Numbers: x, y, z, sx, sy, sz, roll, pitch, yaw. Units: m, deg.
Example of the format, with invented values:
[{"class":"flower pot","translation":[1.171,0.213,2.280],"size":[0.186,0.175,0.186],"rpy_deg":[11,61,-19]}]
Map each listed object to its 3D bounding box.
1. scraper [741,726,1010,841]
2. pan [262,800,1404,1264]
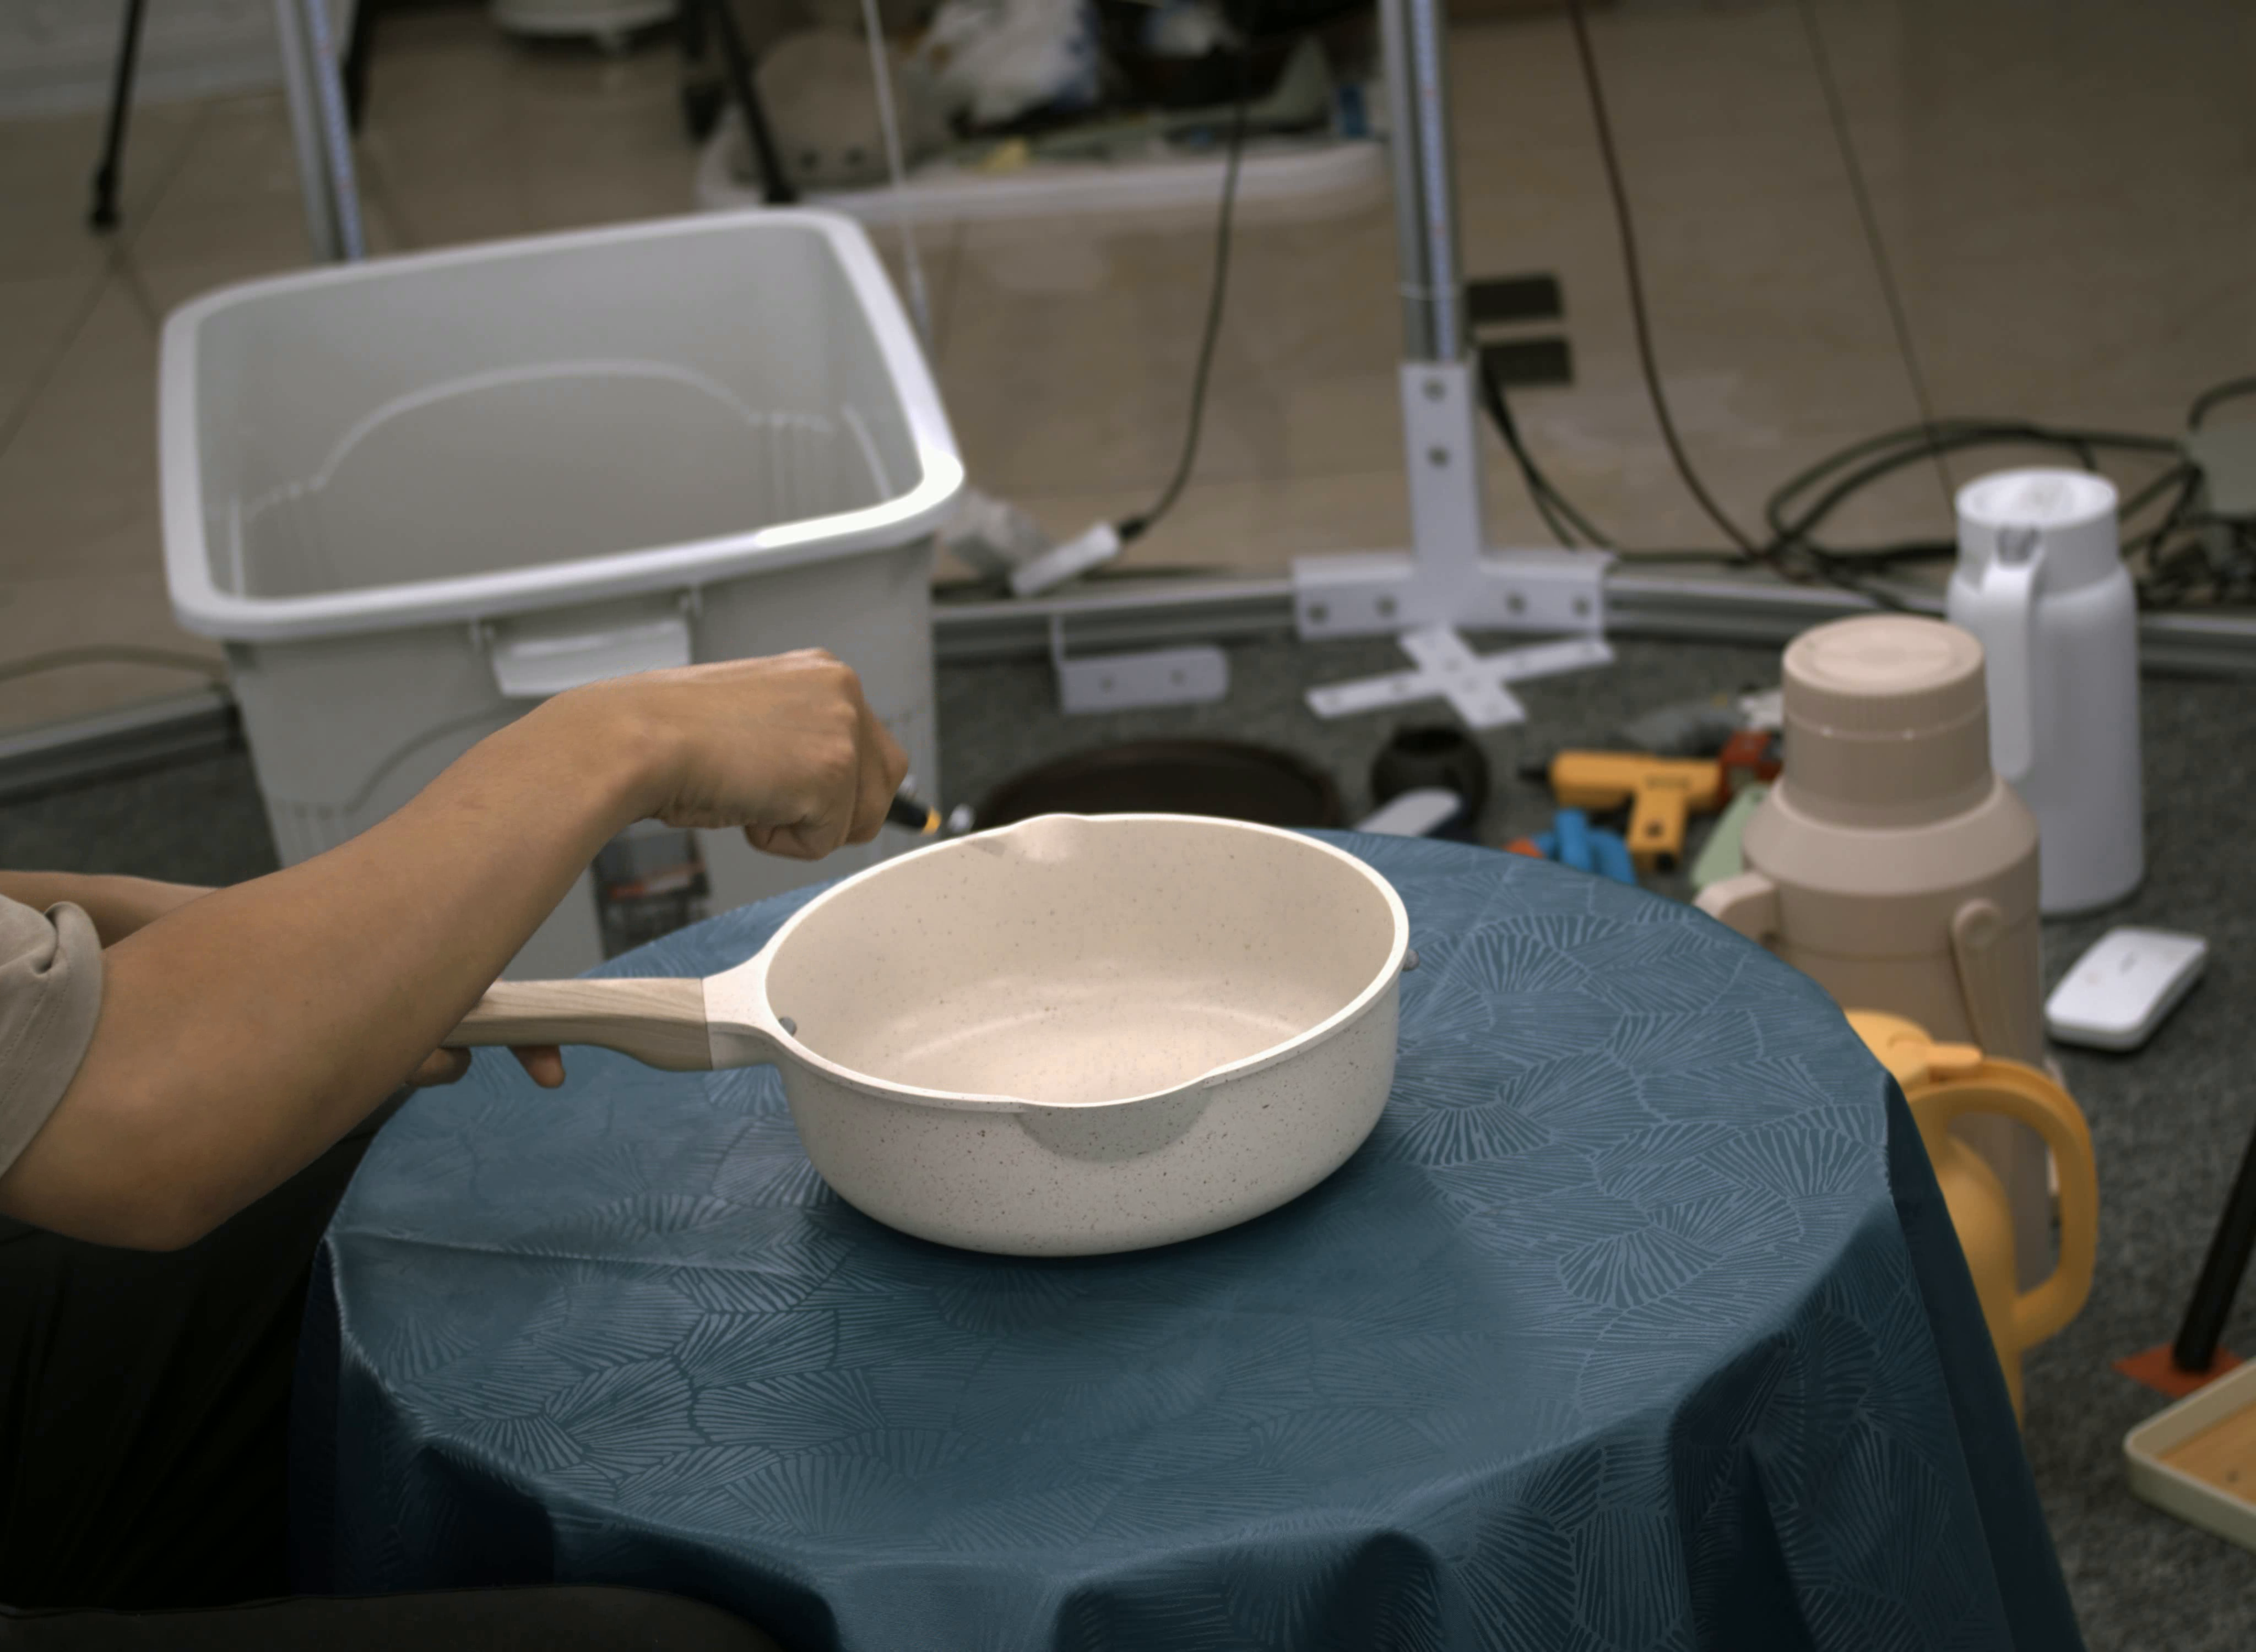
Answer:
[{"class":"scraper","translation":[-0.092,-0.014,2.062],"size":[0.038,0.015,0.172],"rpy_deg":[28,4,26]},{"class":"pan","translation":[-0.108,0.089,2.173],"size":[0.434,0.104,0.259],"rpy_deg":[-8,28,-4]}]
